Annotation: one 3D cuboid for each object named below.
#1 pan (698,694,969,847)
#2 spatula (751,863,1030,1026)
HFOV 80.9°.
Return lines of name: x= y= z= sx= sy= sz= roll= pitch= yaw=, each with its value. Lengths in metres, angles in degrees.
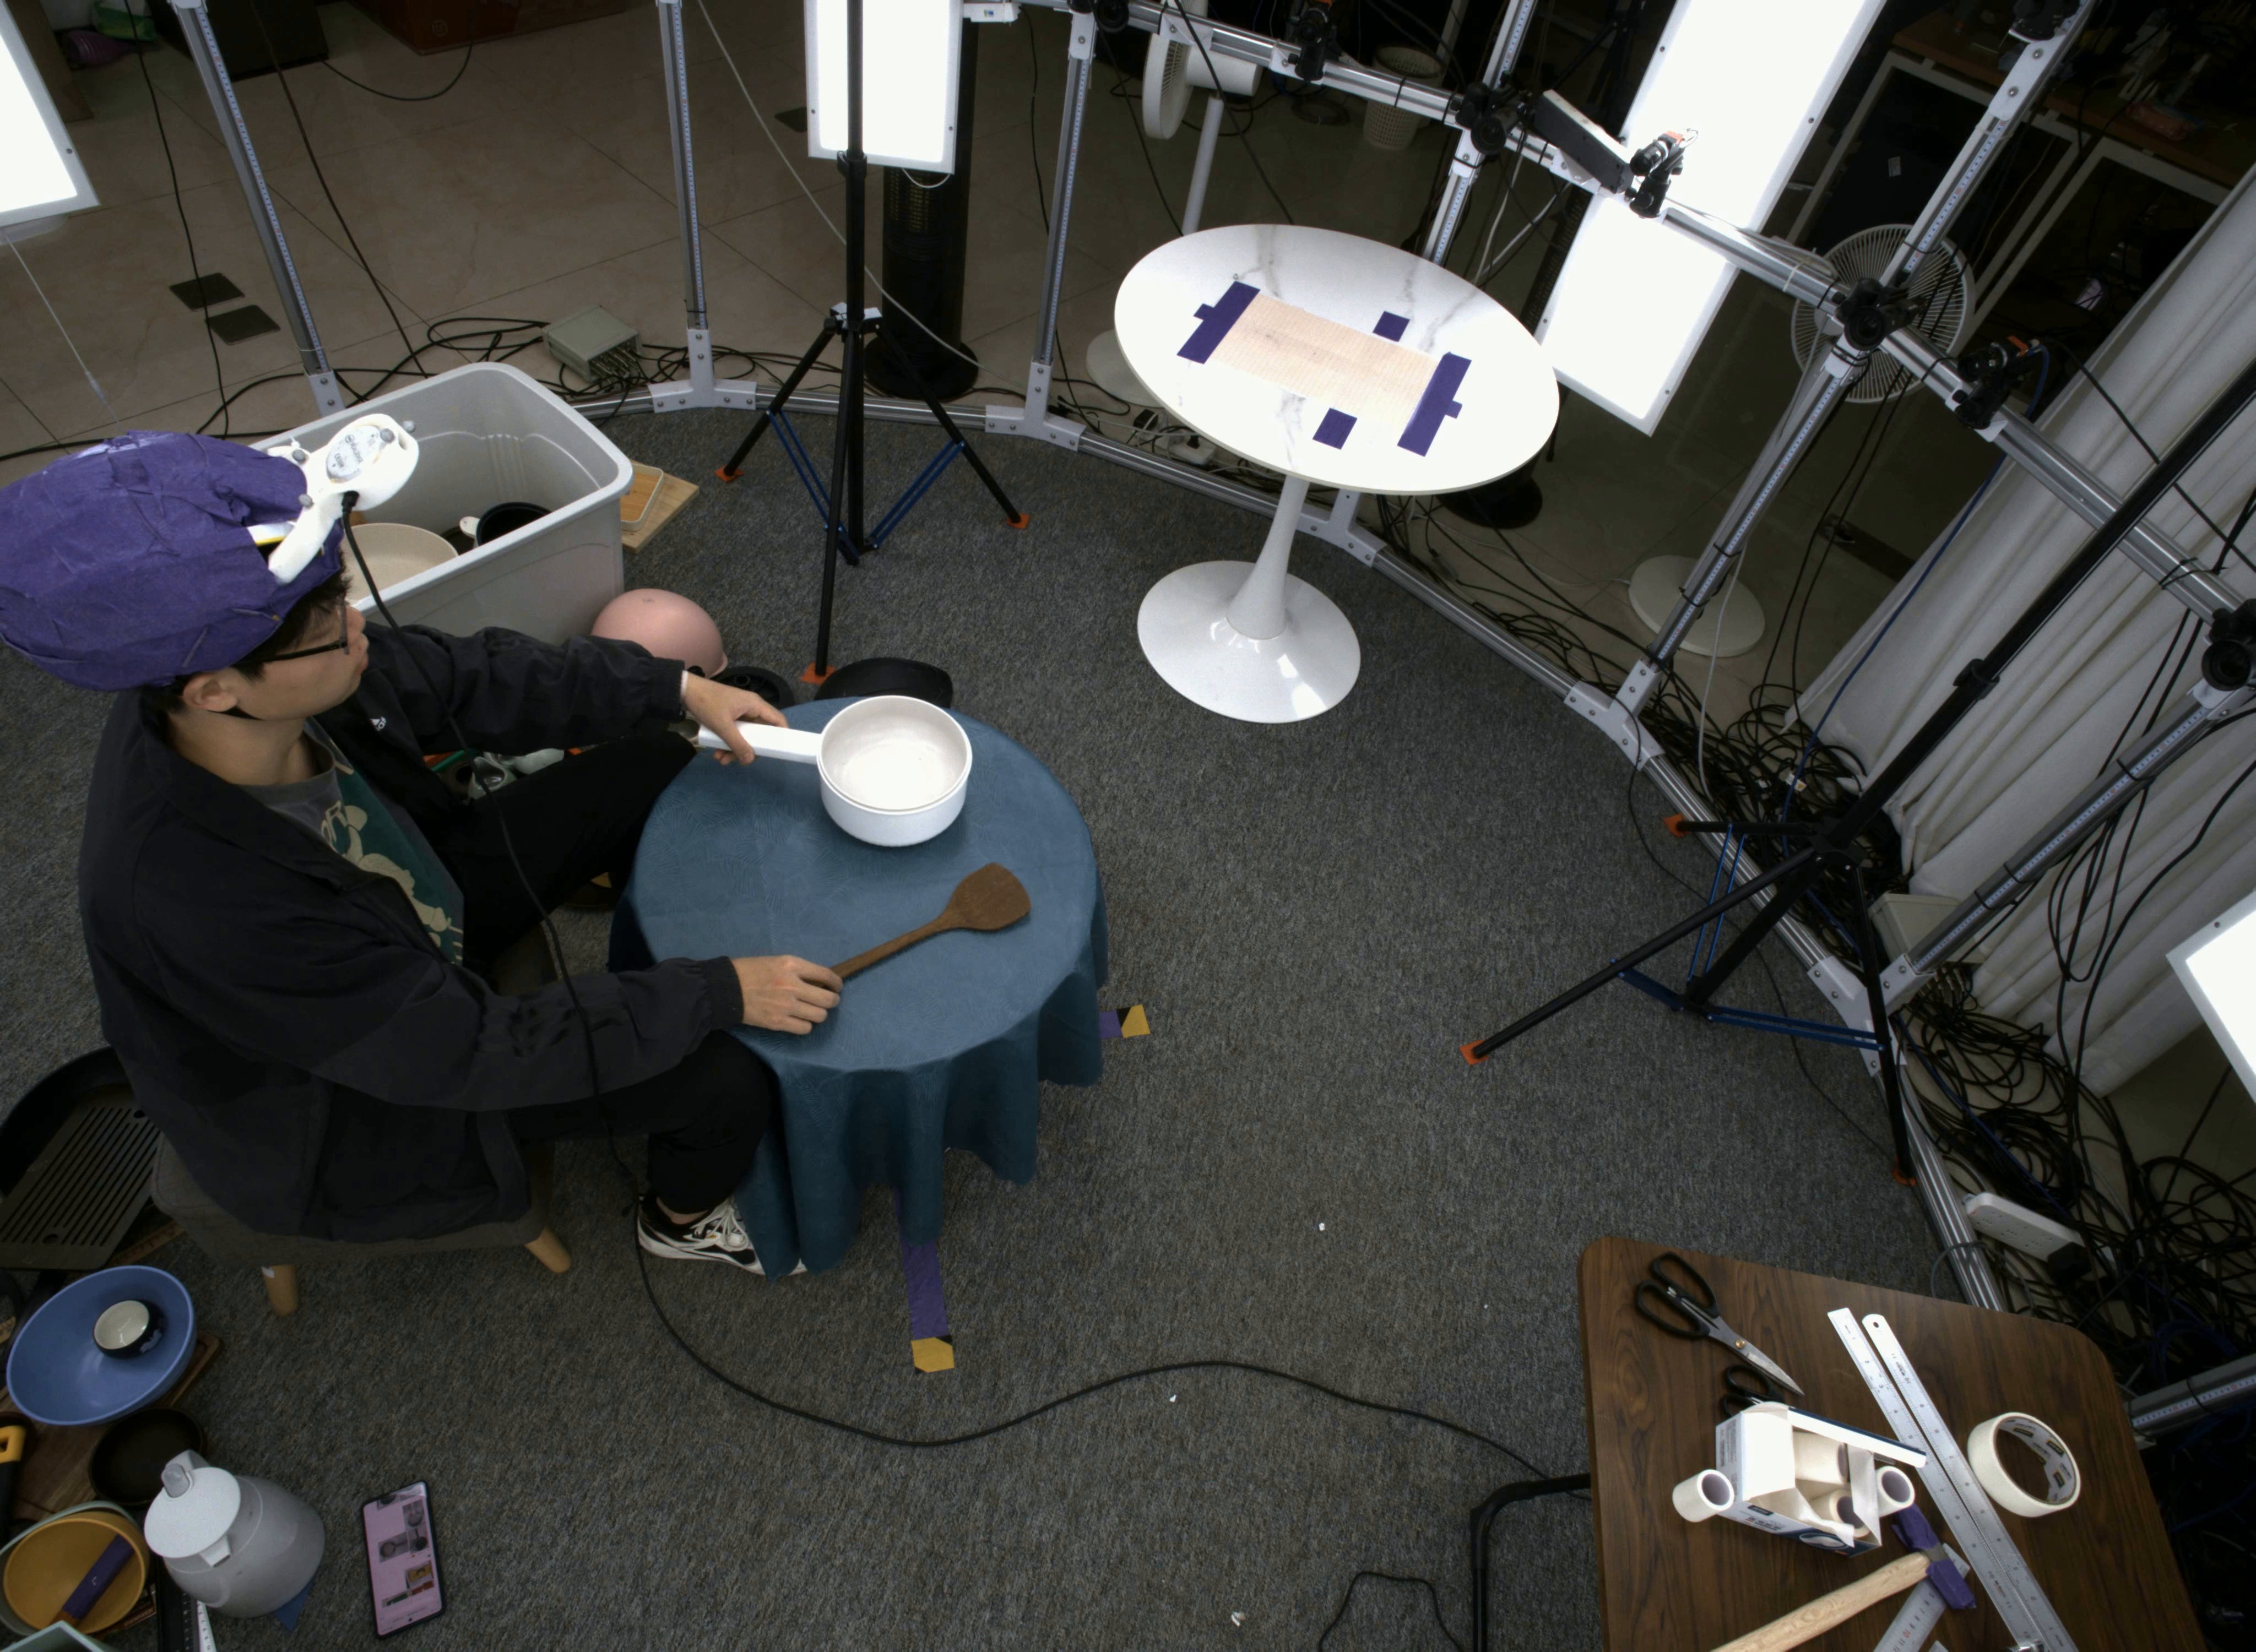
pan: x=-0.389 y=-0.080 z=1.731 sx=0.353 sy=0.104 sz=0.198 roll=8 pitch=53 yaw=-6
spatula: x=-0.296 y=0.153 z=1.634 sx=0.387 sy=0.016 sz=0.094 roll=-27 pitch=64 yaw=-29
